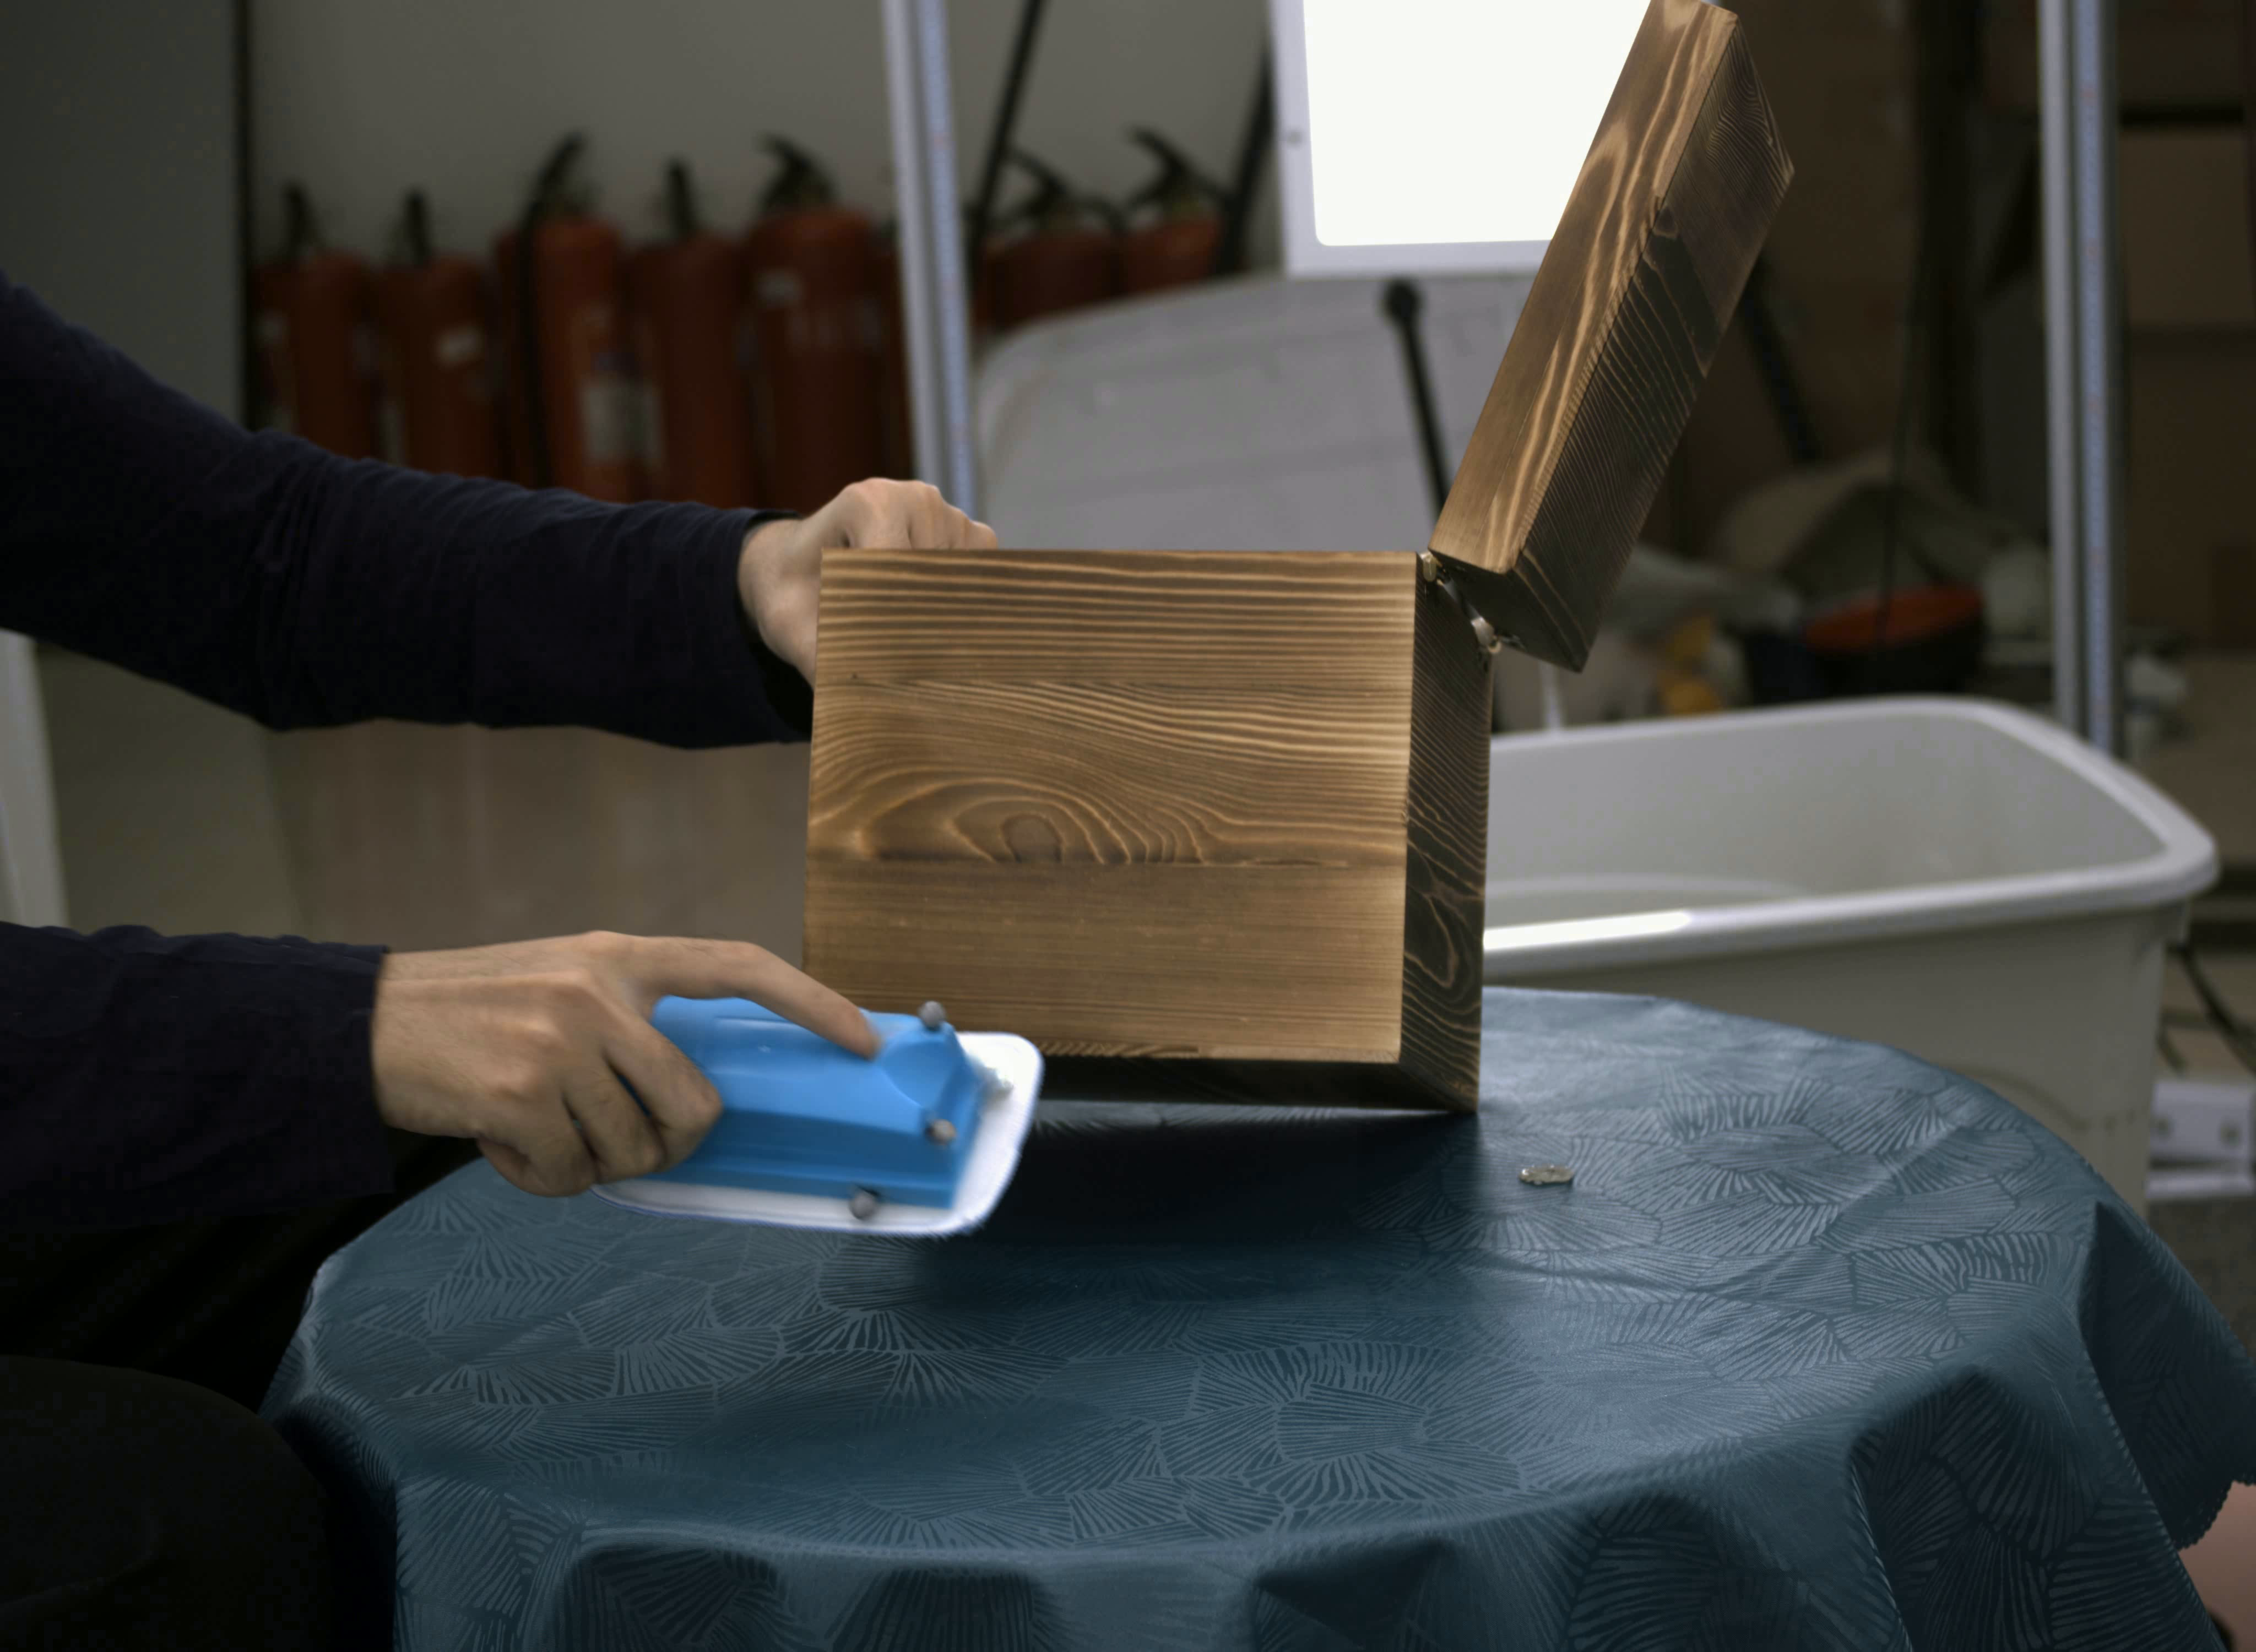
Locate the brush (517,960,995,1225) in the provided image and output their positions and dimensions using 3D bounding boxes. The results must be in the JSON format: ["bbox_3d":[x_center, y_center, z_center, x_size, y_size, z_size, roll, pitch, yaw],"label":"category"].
[{"bbox_3d":[-0.117,0.079,1.710,0.145,0.056,0.083,6,50,16],"label":"brush"}]

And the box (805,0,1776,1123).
[{"bbox_3d":[0.064,-0.091,1.895,0.324,0.376,0.207,1,-8,13],"label":"box"}]
